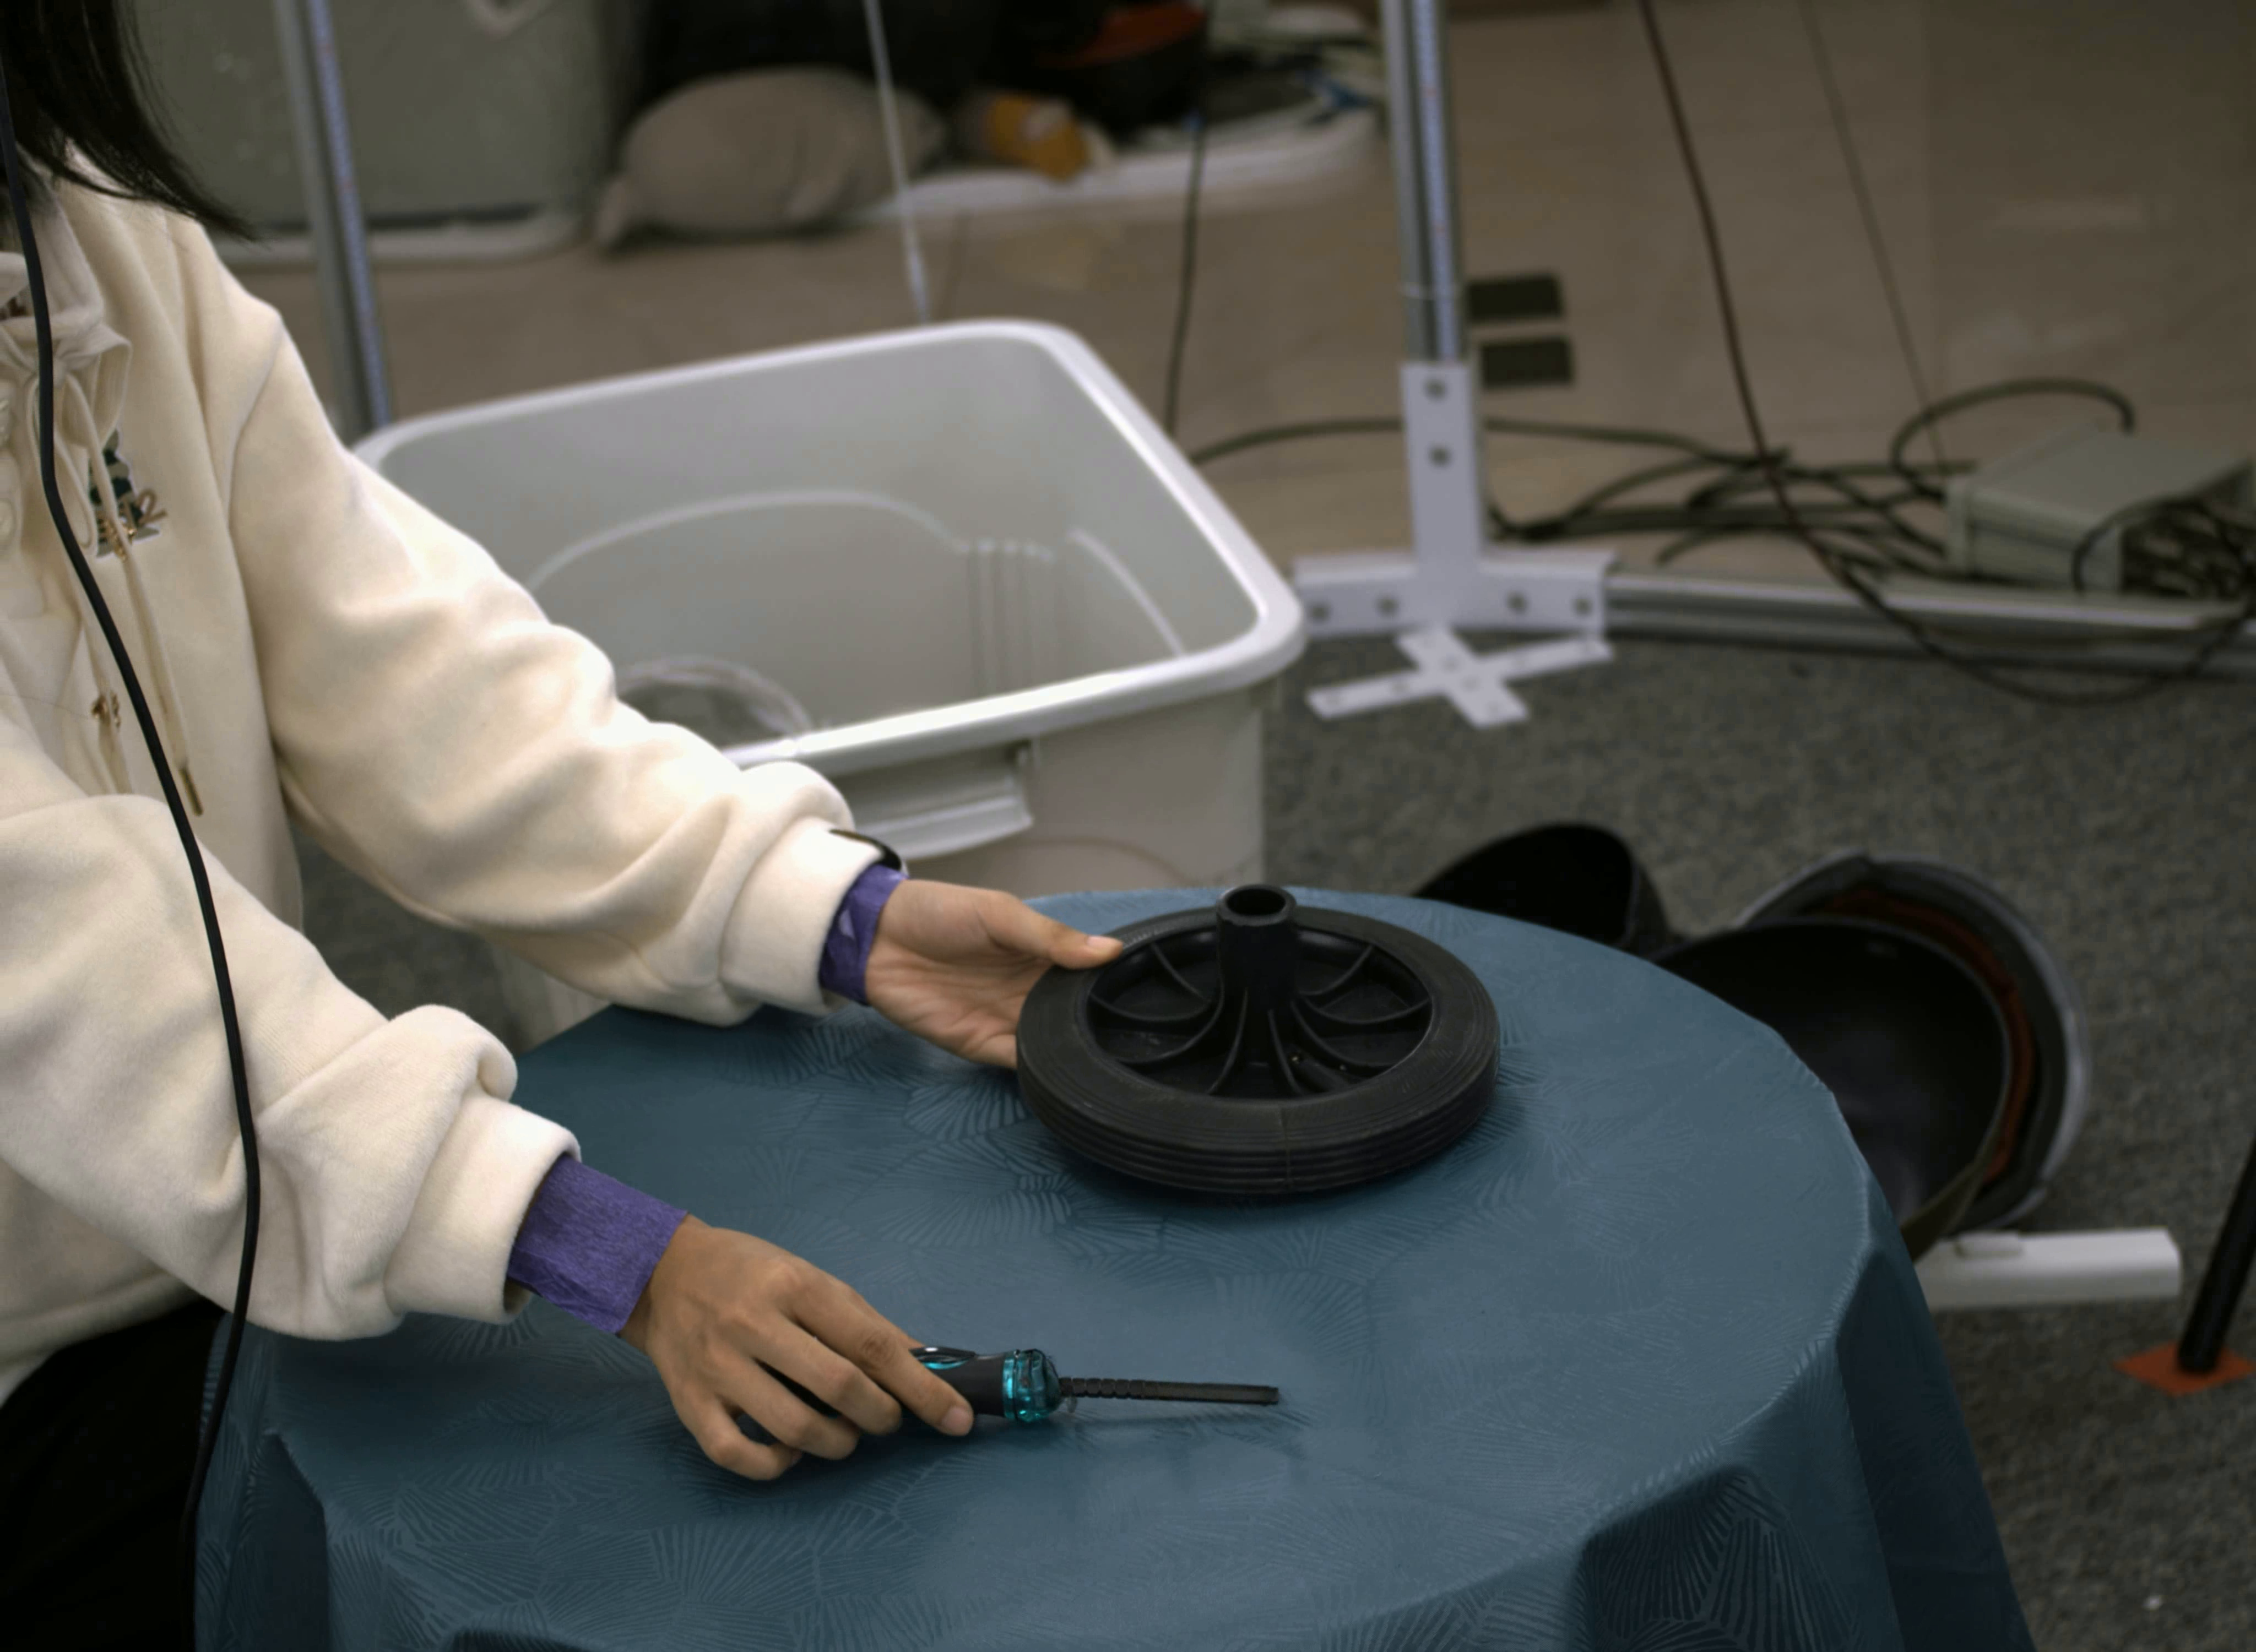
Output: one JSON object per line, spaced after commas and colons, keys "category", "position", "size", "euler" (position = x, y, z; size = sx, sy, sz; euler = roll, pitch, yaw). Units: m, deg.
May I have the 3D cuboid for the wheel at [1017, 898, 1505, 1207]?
{"category": "wheel", "position": [0.052, 0.070, 2.184], "size": [0.189, 0.080, 0.185], "euler": [17, 35, 24]}

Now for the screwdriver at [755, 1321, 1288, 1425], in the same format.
{"category": "screwdriver", "position": [-0.038, 0.197, 2.001], "size": [0.189, 0.034, 0.033], "euler": [4, 26, 8]}
